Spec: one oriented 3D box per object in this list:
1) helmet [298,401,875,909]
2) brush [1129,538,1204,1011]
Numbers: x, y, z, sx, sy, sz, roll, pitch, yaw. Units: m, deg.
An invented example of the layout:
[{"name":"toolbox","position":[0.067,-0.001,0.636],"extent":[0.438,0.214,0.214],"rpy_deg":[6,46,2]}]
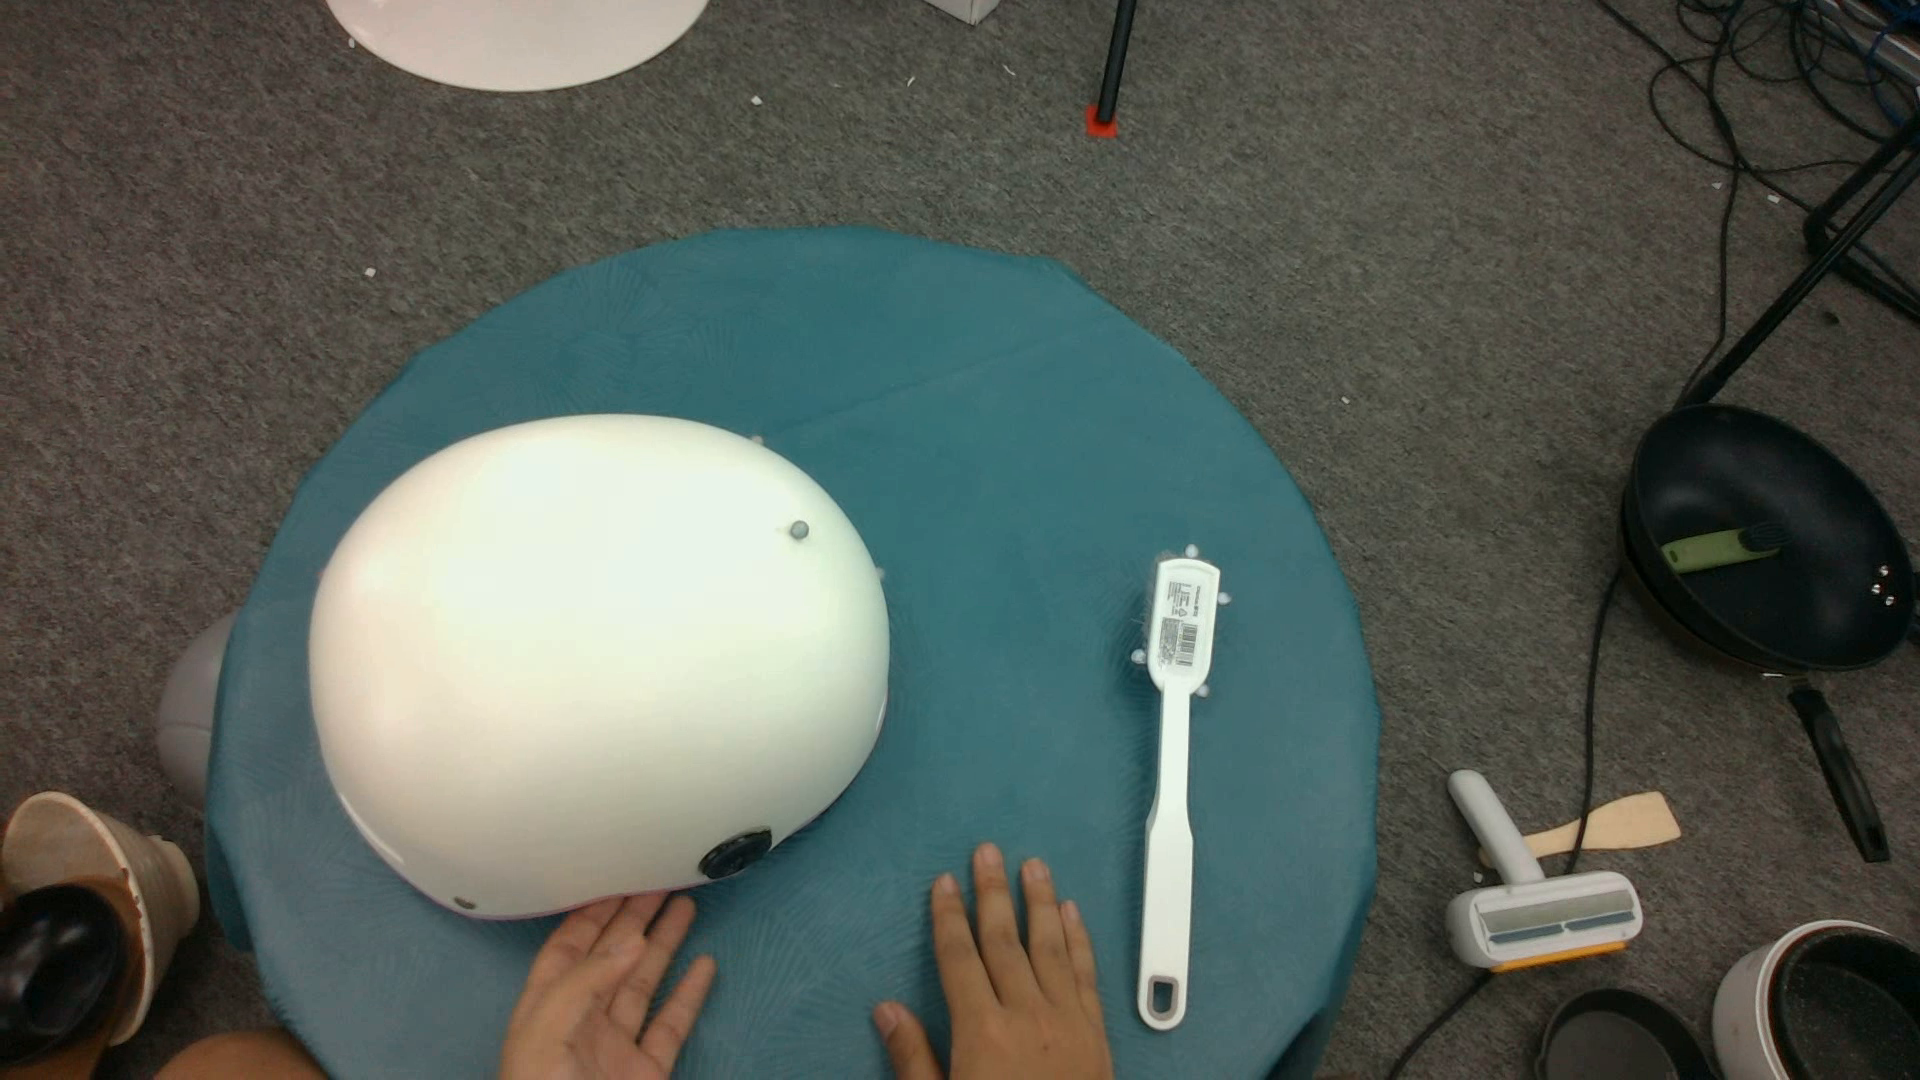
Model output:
[{"name":"helmet","position":[-0.167,0.033,0.636],"extent":[0.269,0.166,0.237],"rpy_deg":[-16,64,-16]},{"name":"brush","position":[0.103,0.114,0.709],"extent":[0.034,0.050,0.244],"rpy_deg":[5,73,0]}]
